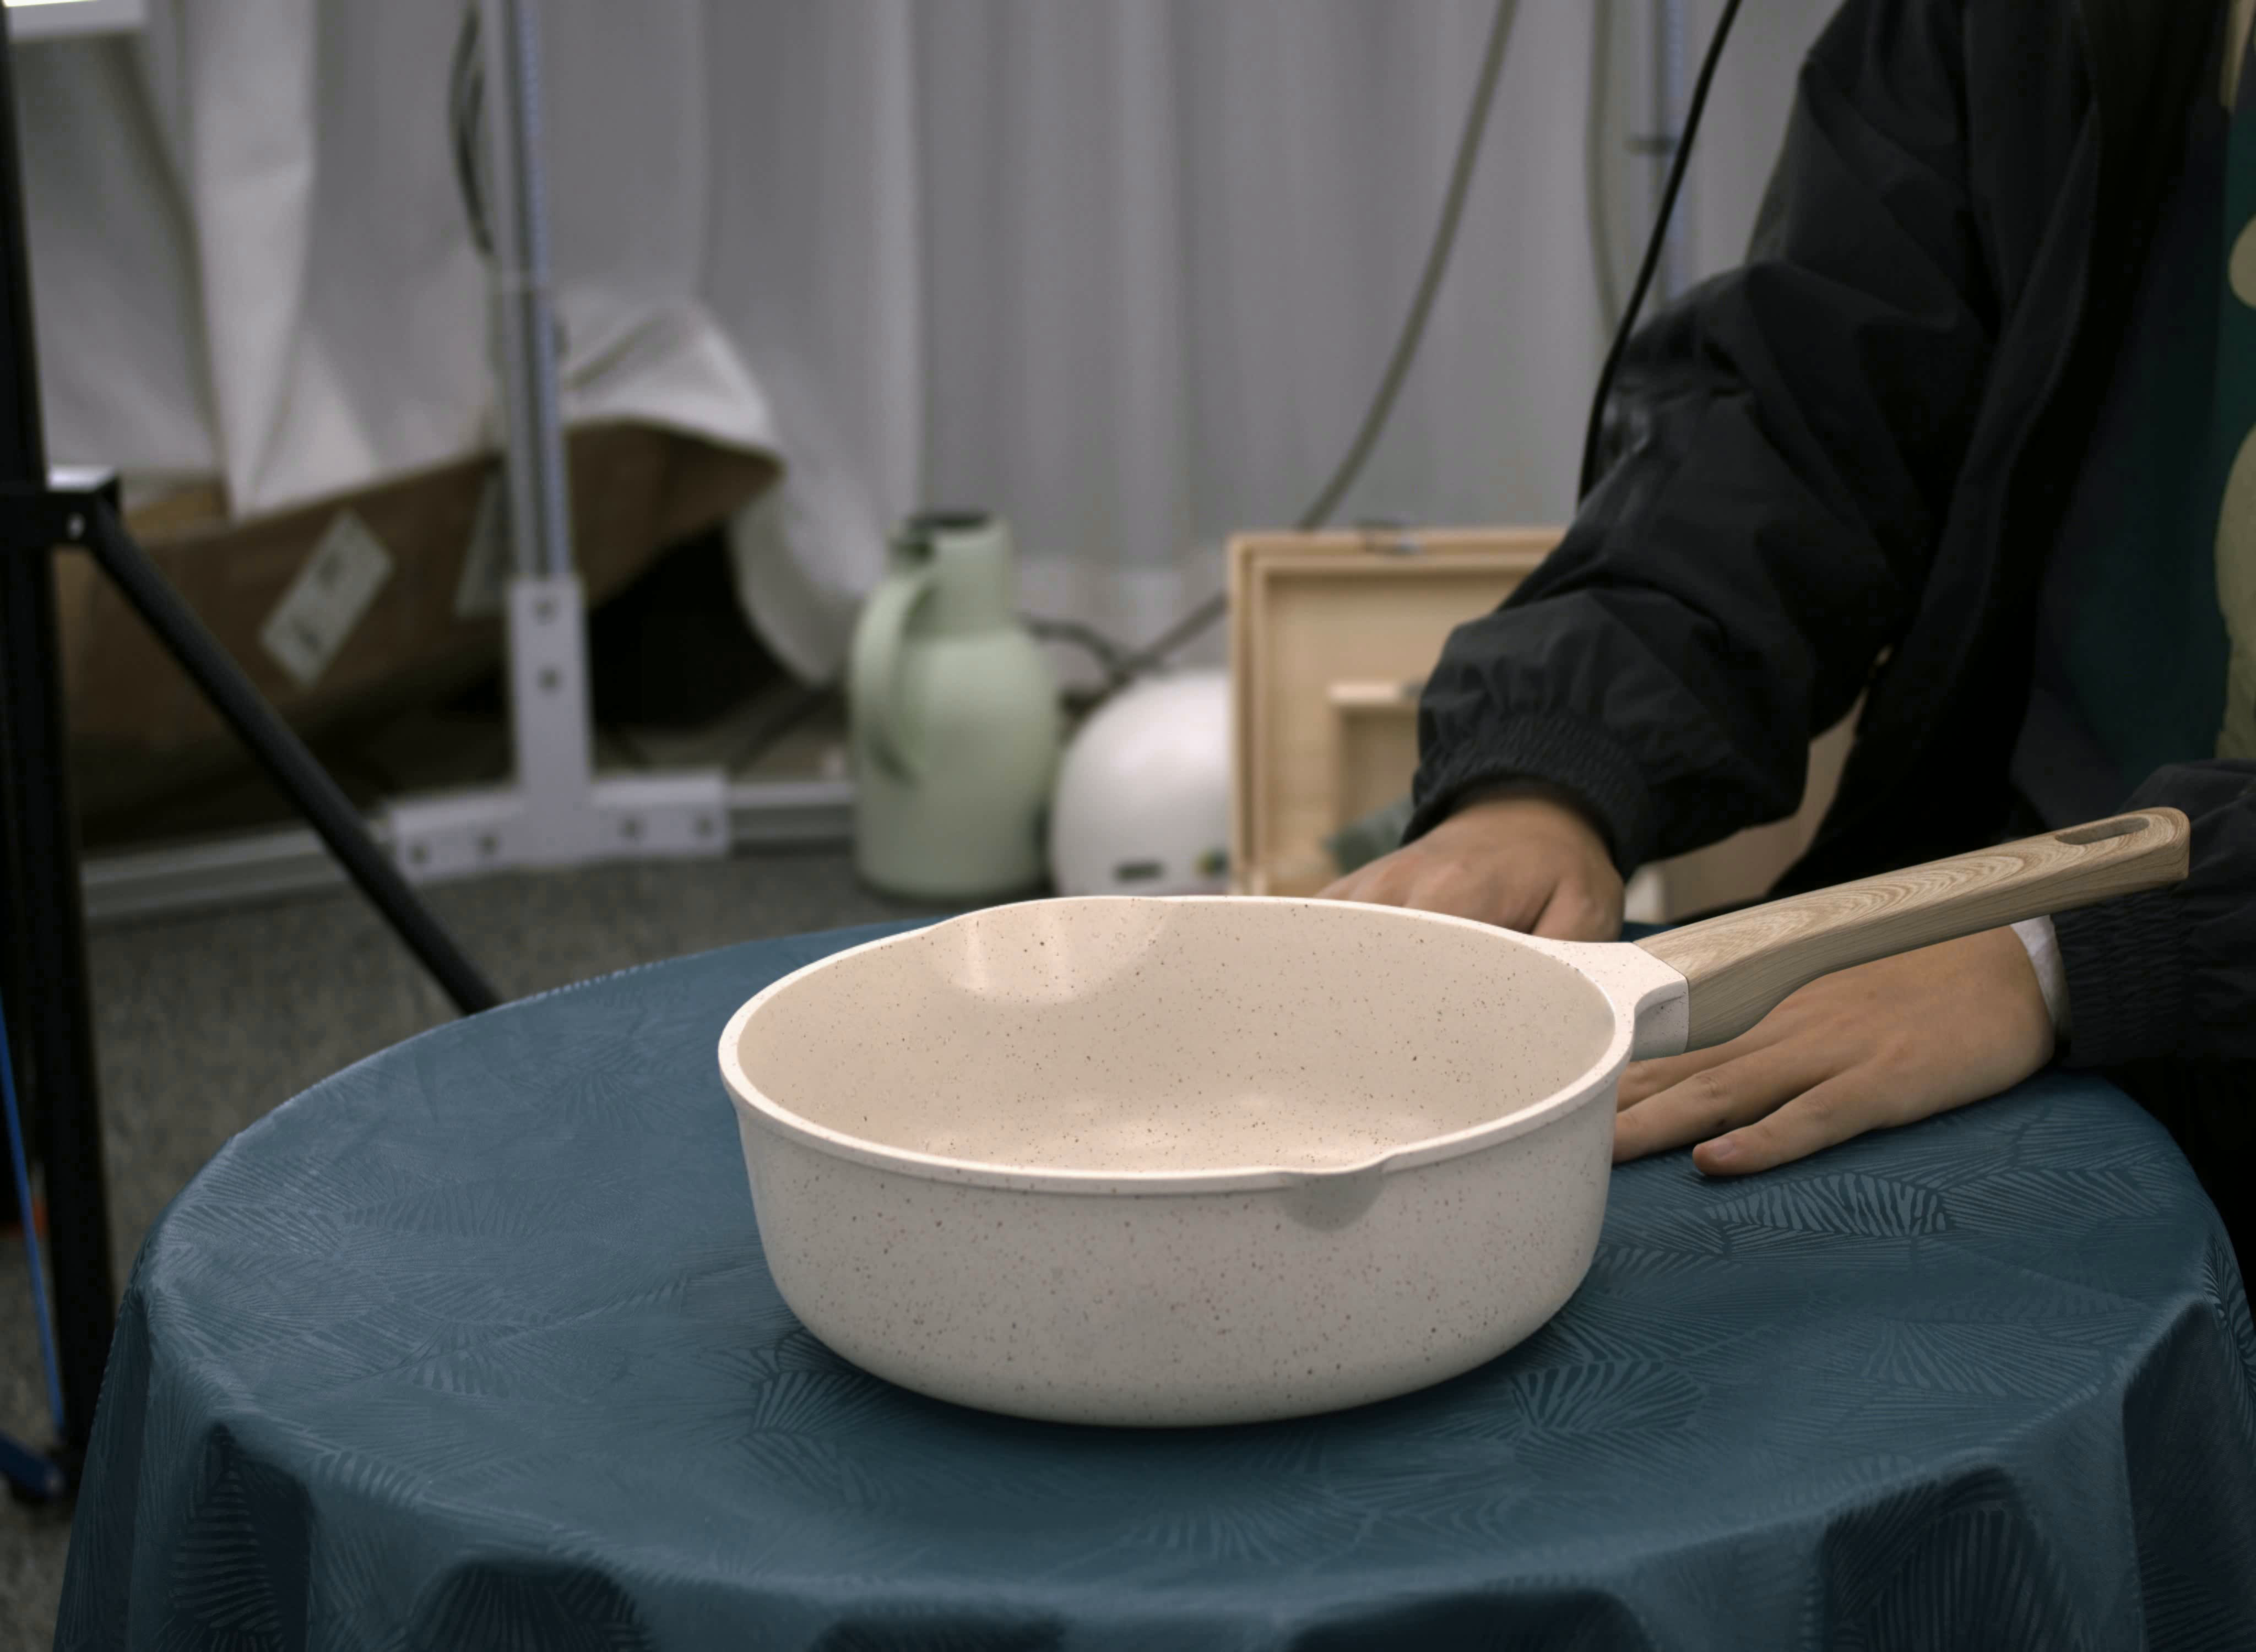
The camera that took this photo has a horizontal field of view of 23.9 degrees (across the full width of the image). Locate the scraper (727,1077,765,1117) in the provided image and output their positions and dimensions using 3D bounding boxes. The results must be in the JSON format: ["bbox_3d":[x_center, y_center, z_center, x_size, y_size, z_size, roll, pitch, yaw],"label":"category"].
[{"bbox_3d":[-0.047,0.067,1.696,0.077,0.011,0.208,7,17,27],"label":"scraper"}]

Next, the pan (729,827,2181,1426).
[{"bbox_3d":[0.104,0.076,1.477,0.427,0.102,0.268,-7,15,-17],"label":"pan"}]
